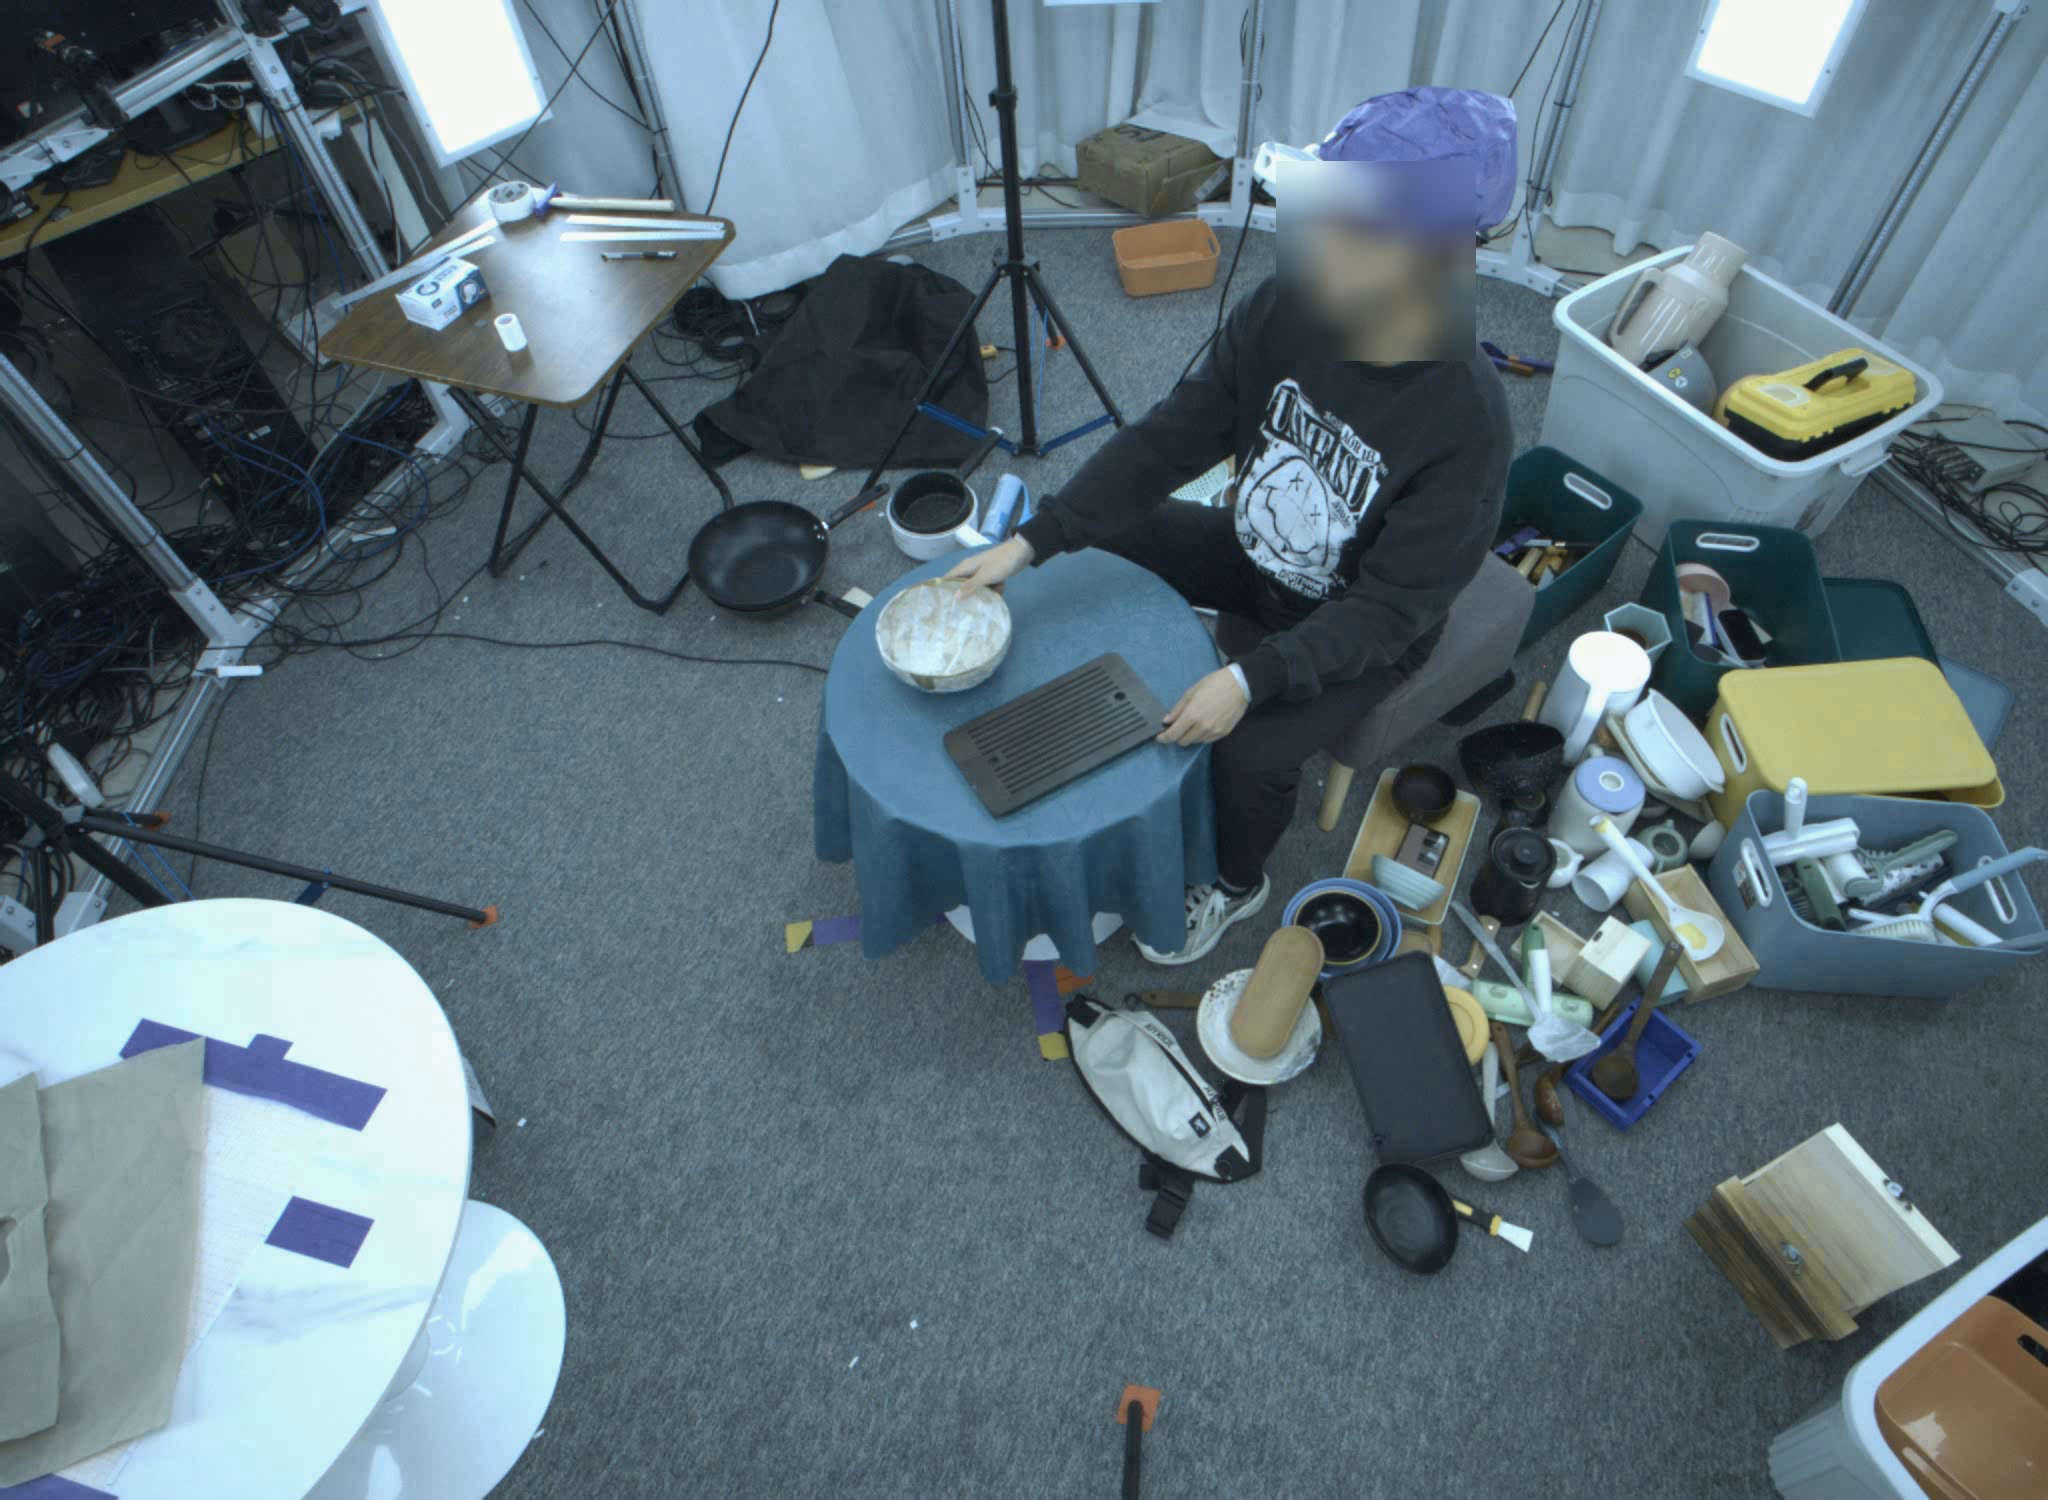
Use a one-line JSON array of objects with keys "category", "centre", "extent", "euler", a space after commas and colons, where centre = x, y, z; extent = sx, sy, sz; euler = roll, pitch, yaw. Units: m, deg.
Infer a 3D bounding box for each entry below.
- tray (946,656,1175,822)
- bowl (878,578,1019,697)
[{"category": "tray", "centre": [0.053, -0.019, 1.799], "extent": [0.308, 0.019, 0.167], "euler": [-27, 59, -17]}, {"category": "bowl", "centre": [-0.110, -0.153, 1.851], "extent": [0.214, 0.095, 0.212], "euler": [-1, 54, 3]}]
